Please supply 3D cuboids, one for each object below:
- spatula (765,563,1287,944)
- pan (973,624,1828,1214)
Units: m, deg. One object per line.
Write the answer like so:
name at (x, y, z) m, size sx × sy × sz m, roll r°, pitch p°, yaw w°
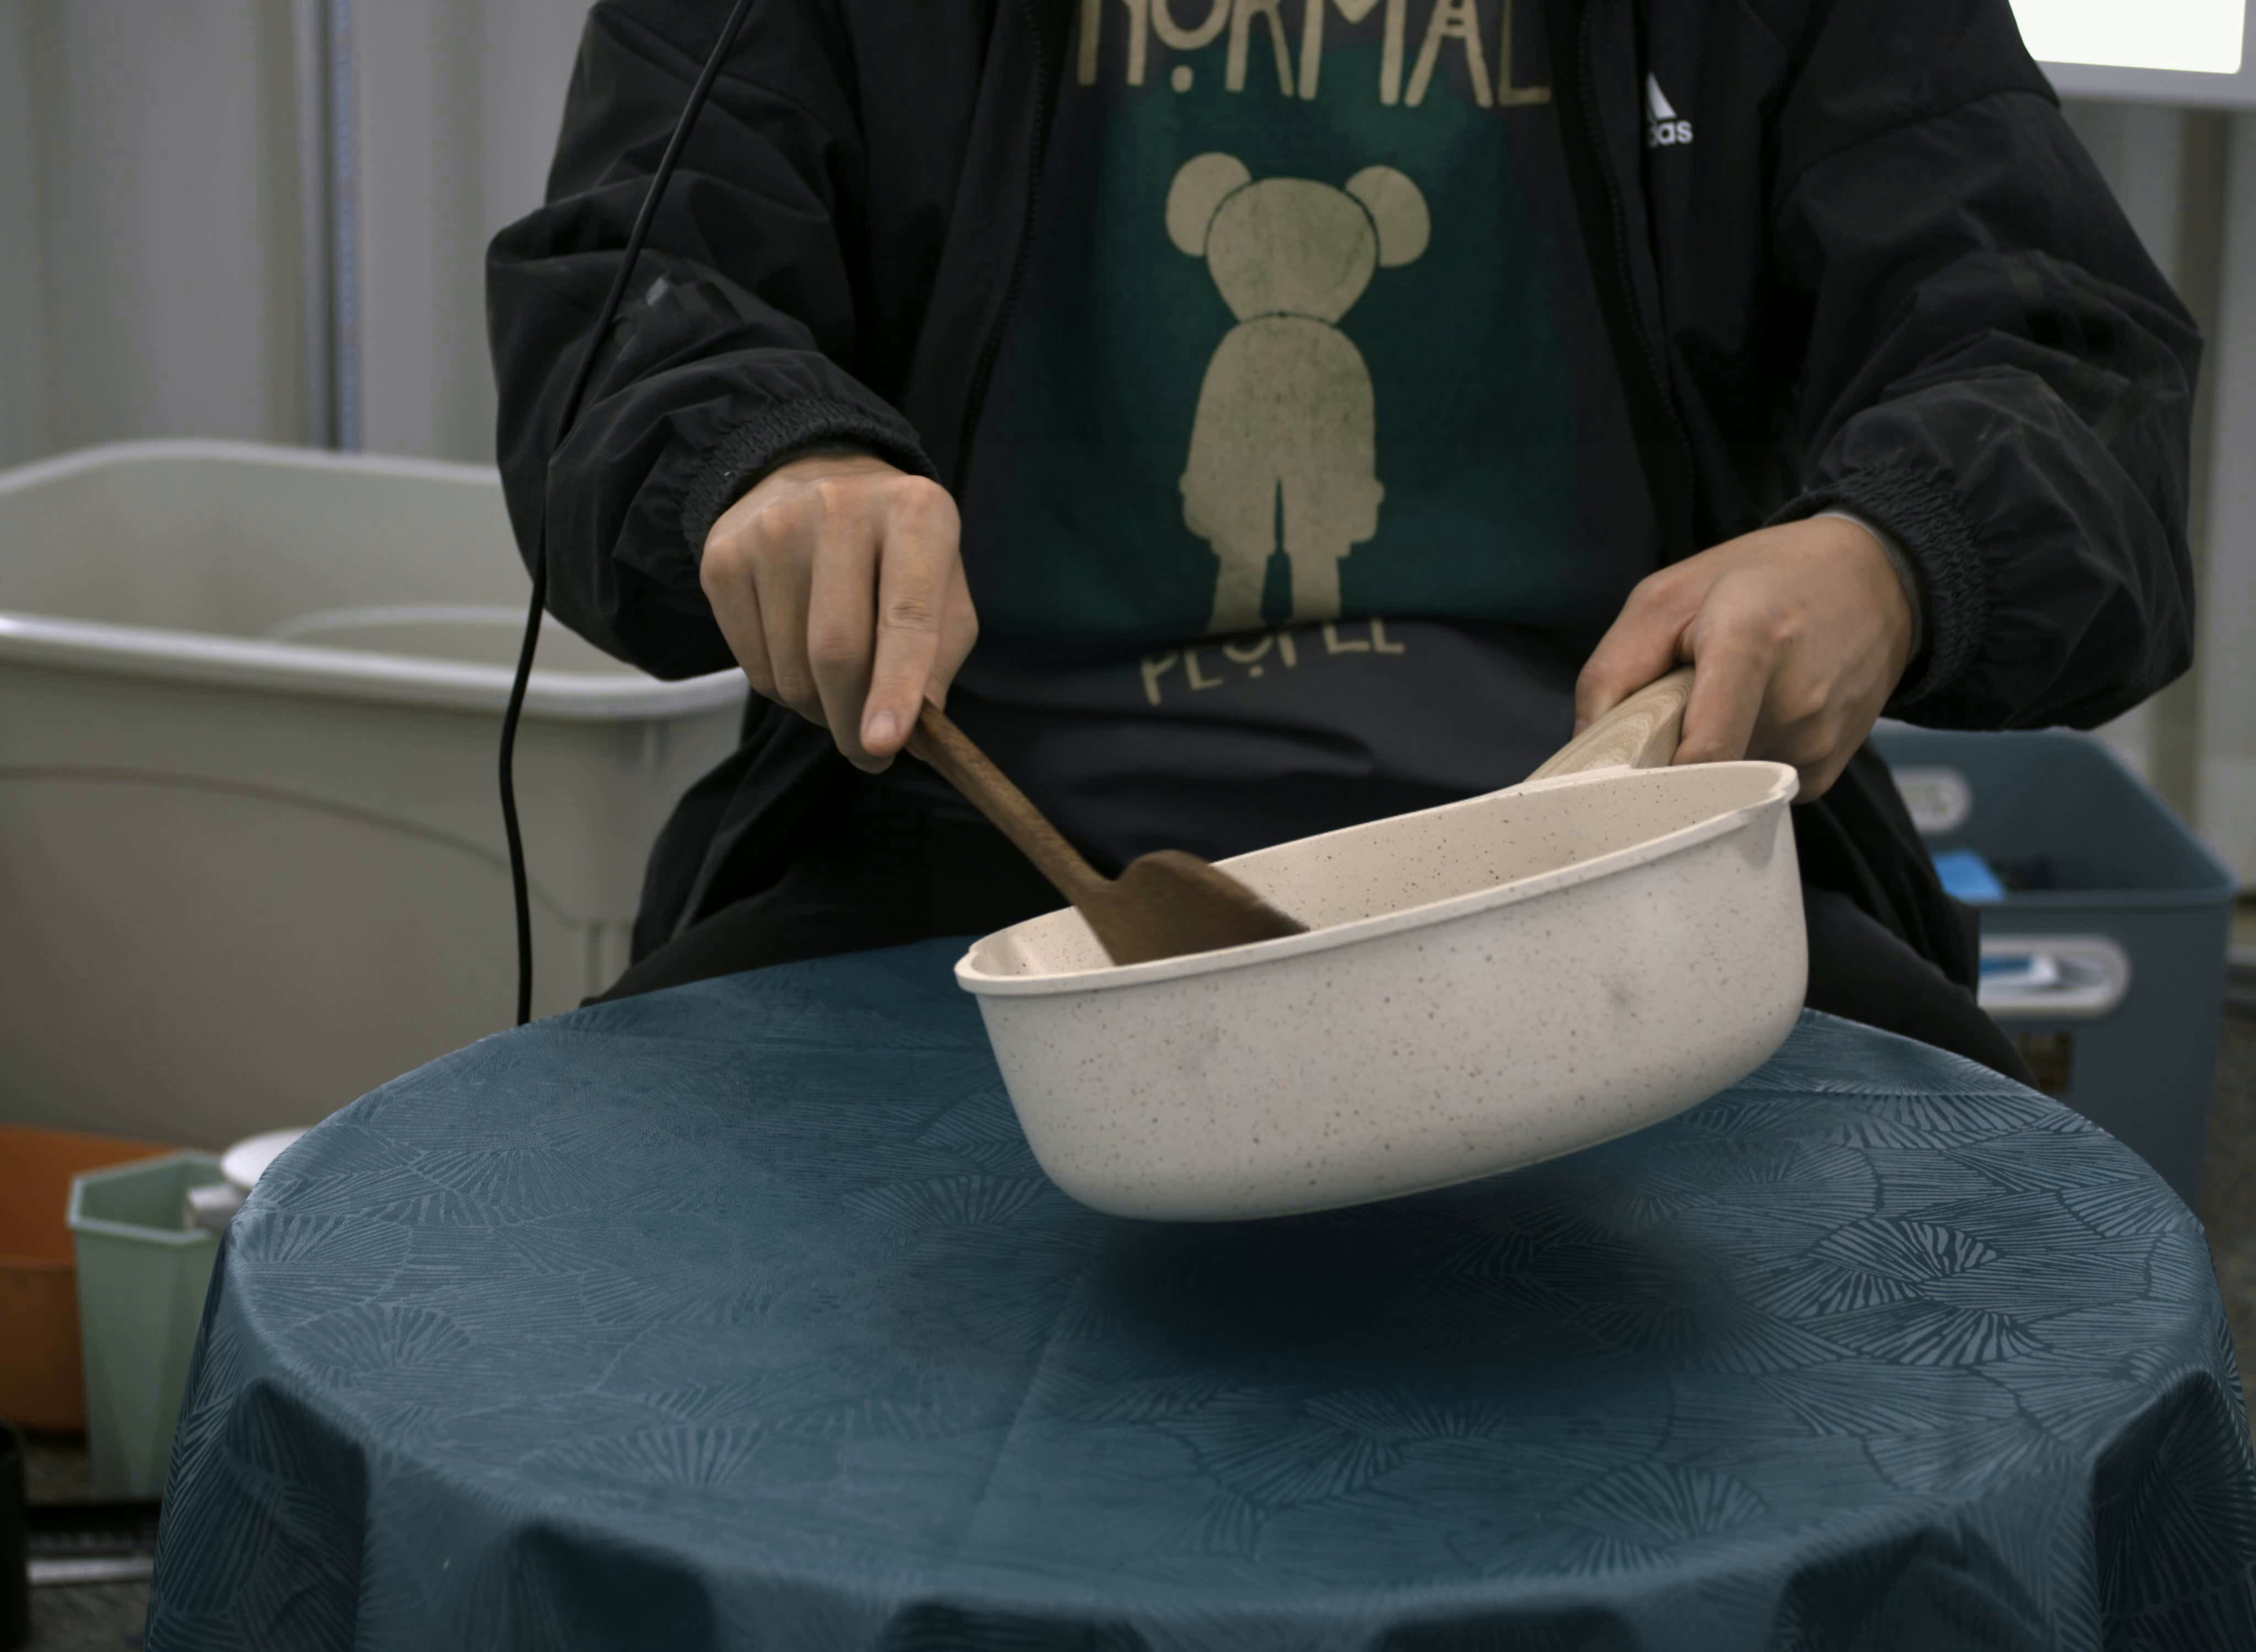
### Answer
spatula at (-0.033, -0.008, 1.605) m, size 0.016 × 0.097 × 0.381 m, roll -20°, pitch 30°, yaw -19°
pan at (0.127, 0.022, 1.607) m, size 0.261 × 0.102 × 0.436 m, roll -12°, pitch 5°, yaw 30°
